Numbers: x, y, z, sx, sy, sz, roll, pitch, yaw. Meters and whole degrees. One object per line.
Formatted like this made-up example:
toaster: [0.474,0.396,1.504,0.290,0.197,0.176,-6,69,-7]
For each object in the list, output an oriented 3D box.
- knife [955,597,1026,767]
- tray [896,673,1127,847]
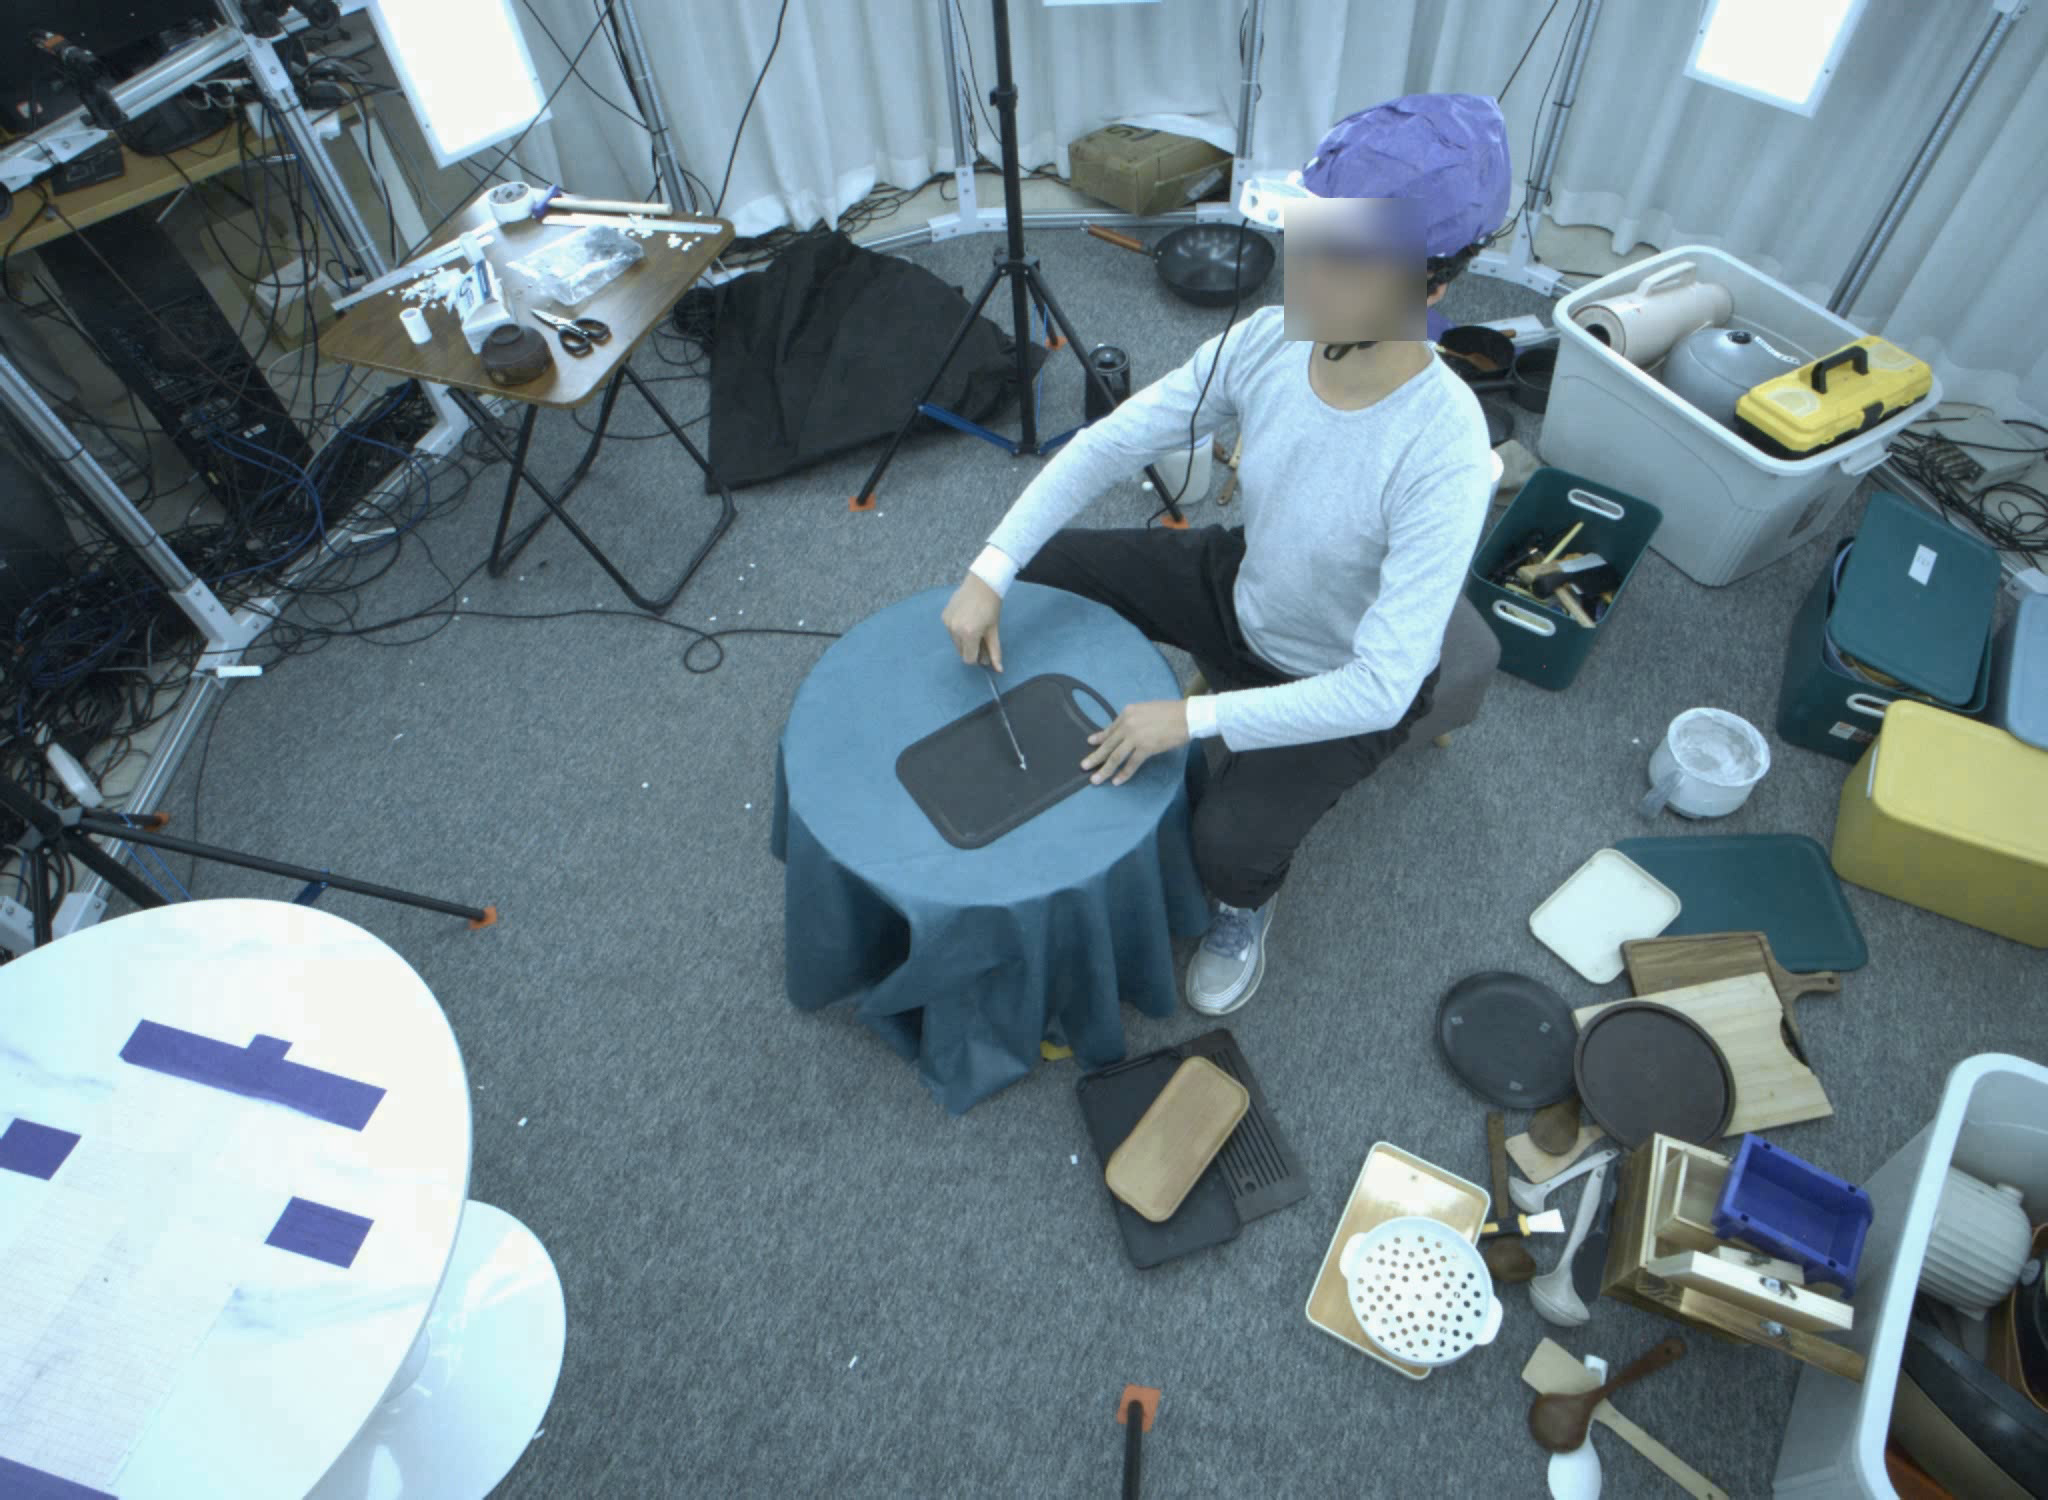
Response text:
knife: [-0.047,-0.102,1.812,0.020,0.050,0.286,-19,72,-7]
tray: [-0.012,0.003,1.790,0.328,0.010,0.207,-29,59,-18]
